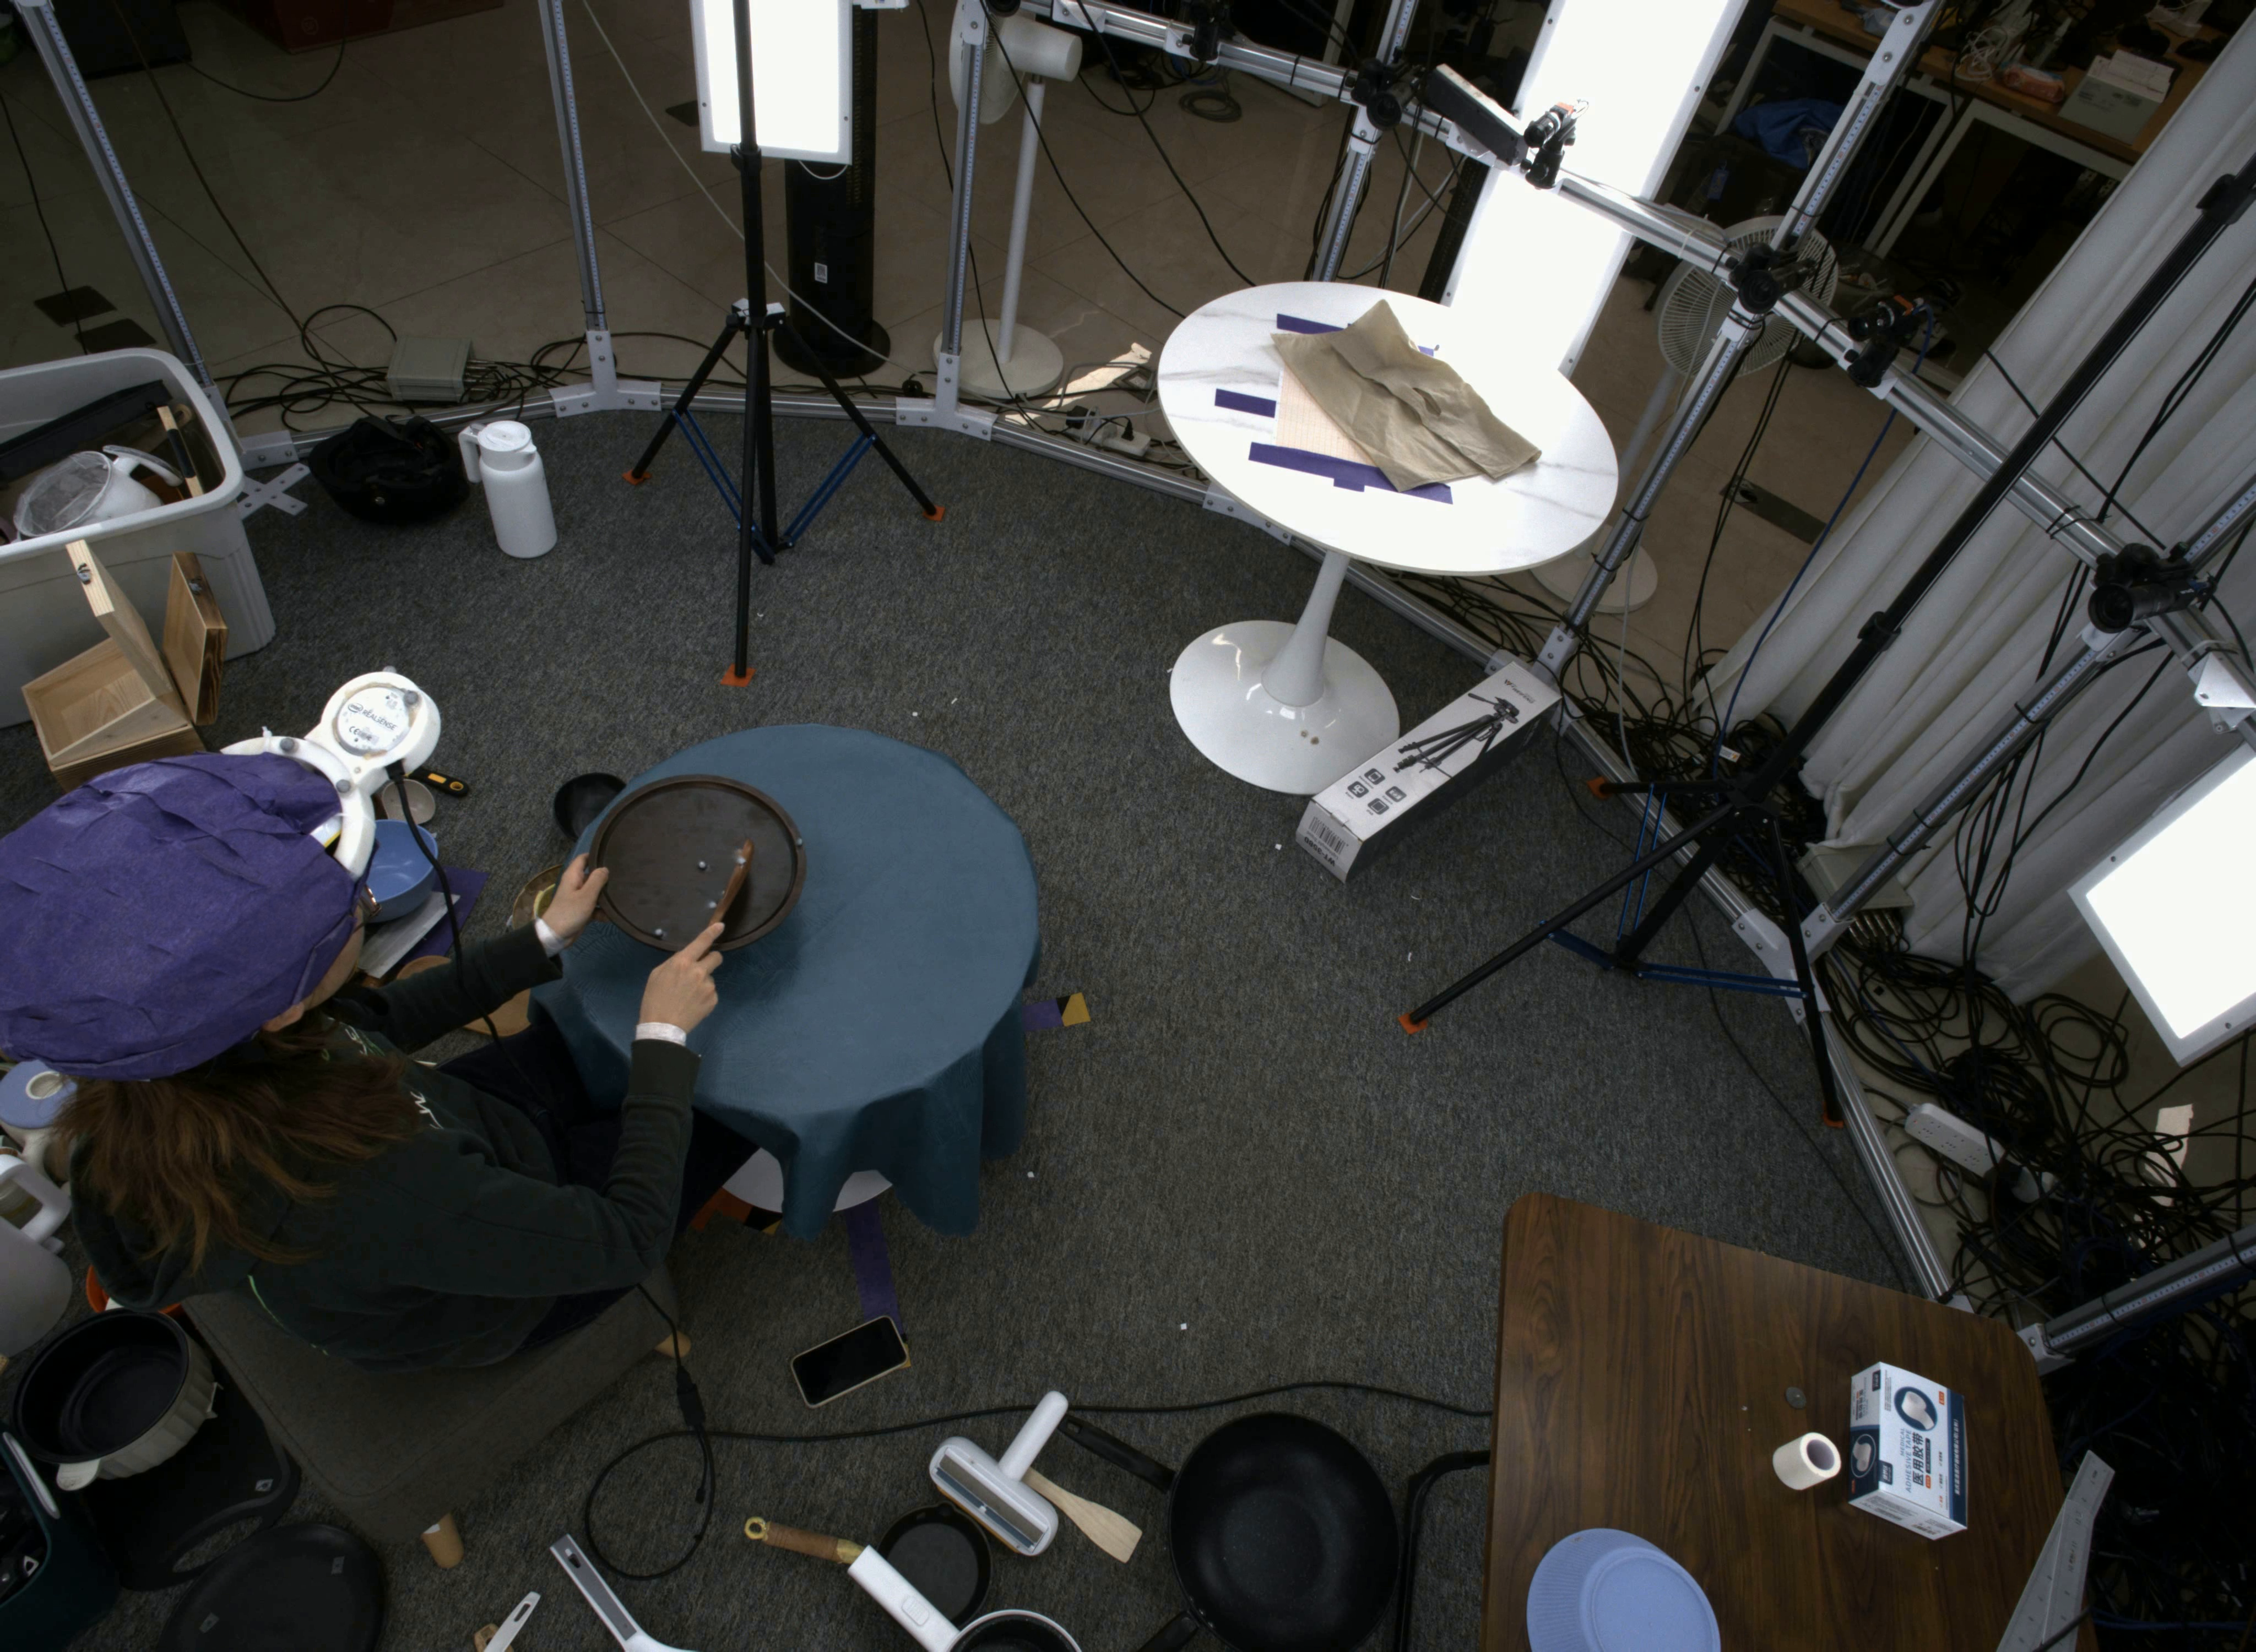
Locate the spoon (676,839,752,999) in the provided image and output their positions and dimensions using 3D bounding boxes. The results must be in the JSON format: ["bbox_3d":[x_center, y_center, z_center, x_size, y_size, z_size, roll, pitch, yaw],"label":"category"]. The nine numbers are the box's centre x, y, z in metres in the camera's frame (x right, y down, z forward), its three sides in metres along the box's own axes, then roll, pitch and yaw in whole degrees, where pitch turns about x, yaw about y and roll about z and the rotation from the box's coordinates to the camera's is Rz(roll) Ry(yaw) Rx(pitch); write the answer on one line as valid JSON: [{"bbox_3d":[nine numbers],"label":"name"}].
[{"bbox_3d":[-0.470,0.102,1.478,0.017,0.075,0.213,25,49,-13],"label":"spoon"}]

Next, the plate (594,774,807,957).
[{"bbox_3d":[-0.515,0.044,1.548,0.256,0.029,0.250,11,54,-14],"label":"plate"}]
